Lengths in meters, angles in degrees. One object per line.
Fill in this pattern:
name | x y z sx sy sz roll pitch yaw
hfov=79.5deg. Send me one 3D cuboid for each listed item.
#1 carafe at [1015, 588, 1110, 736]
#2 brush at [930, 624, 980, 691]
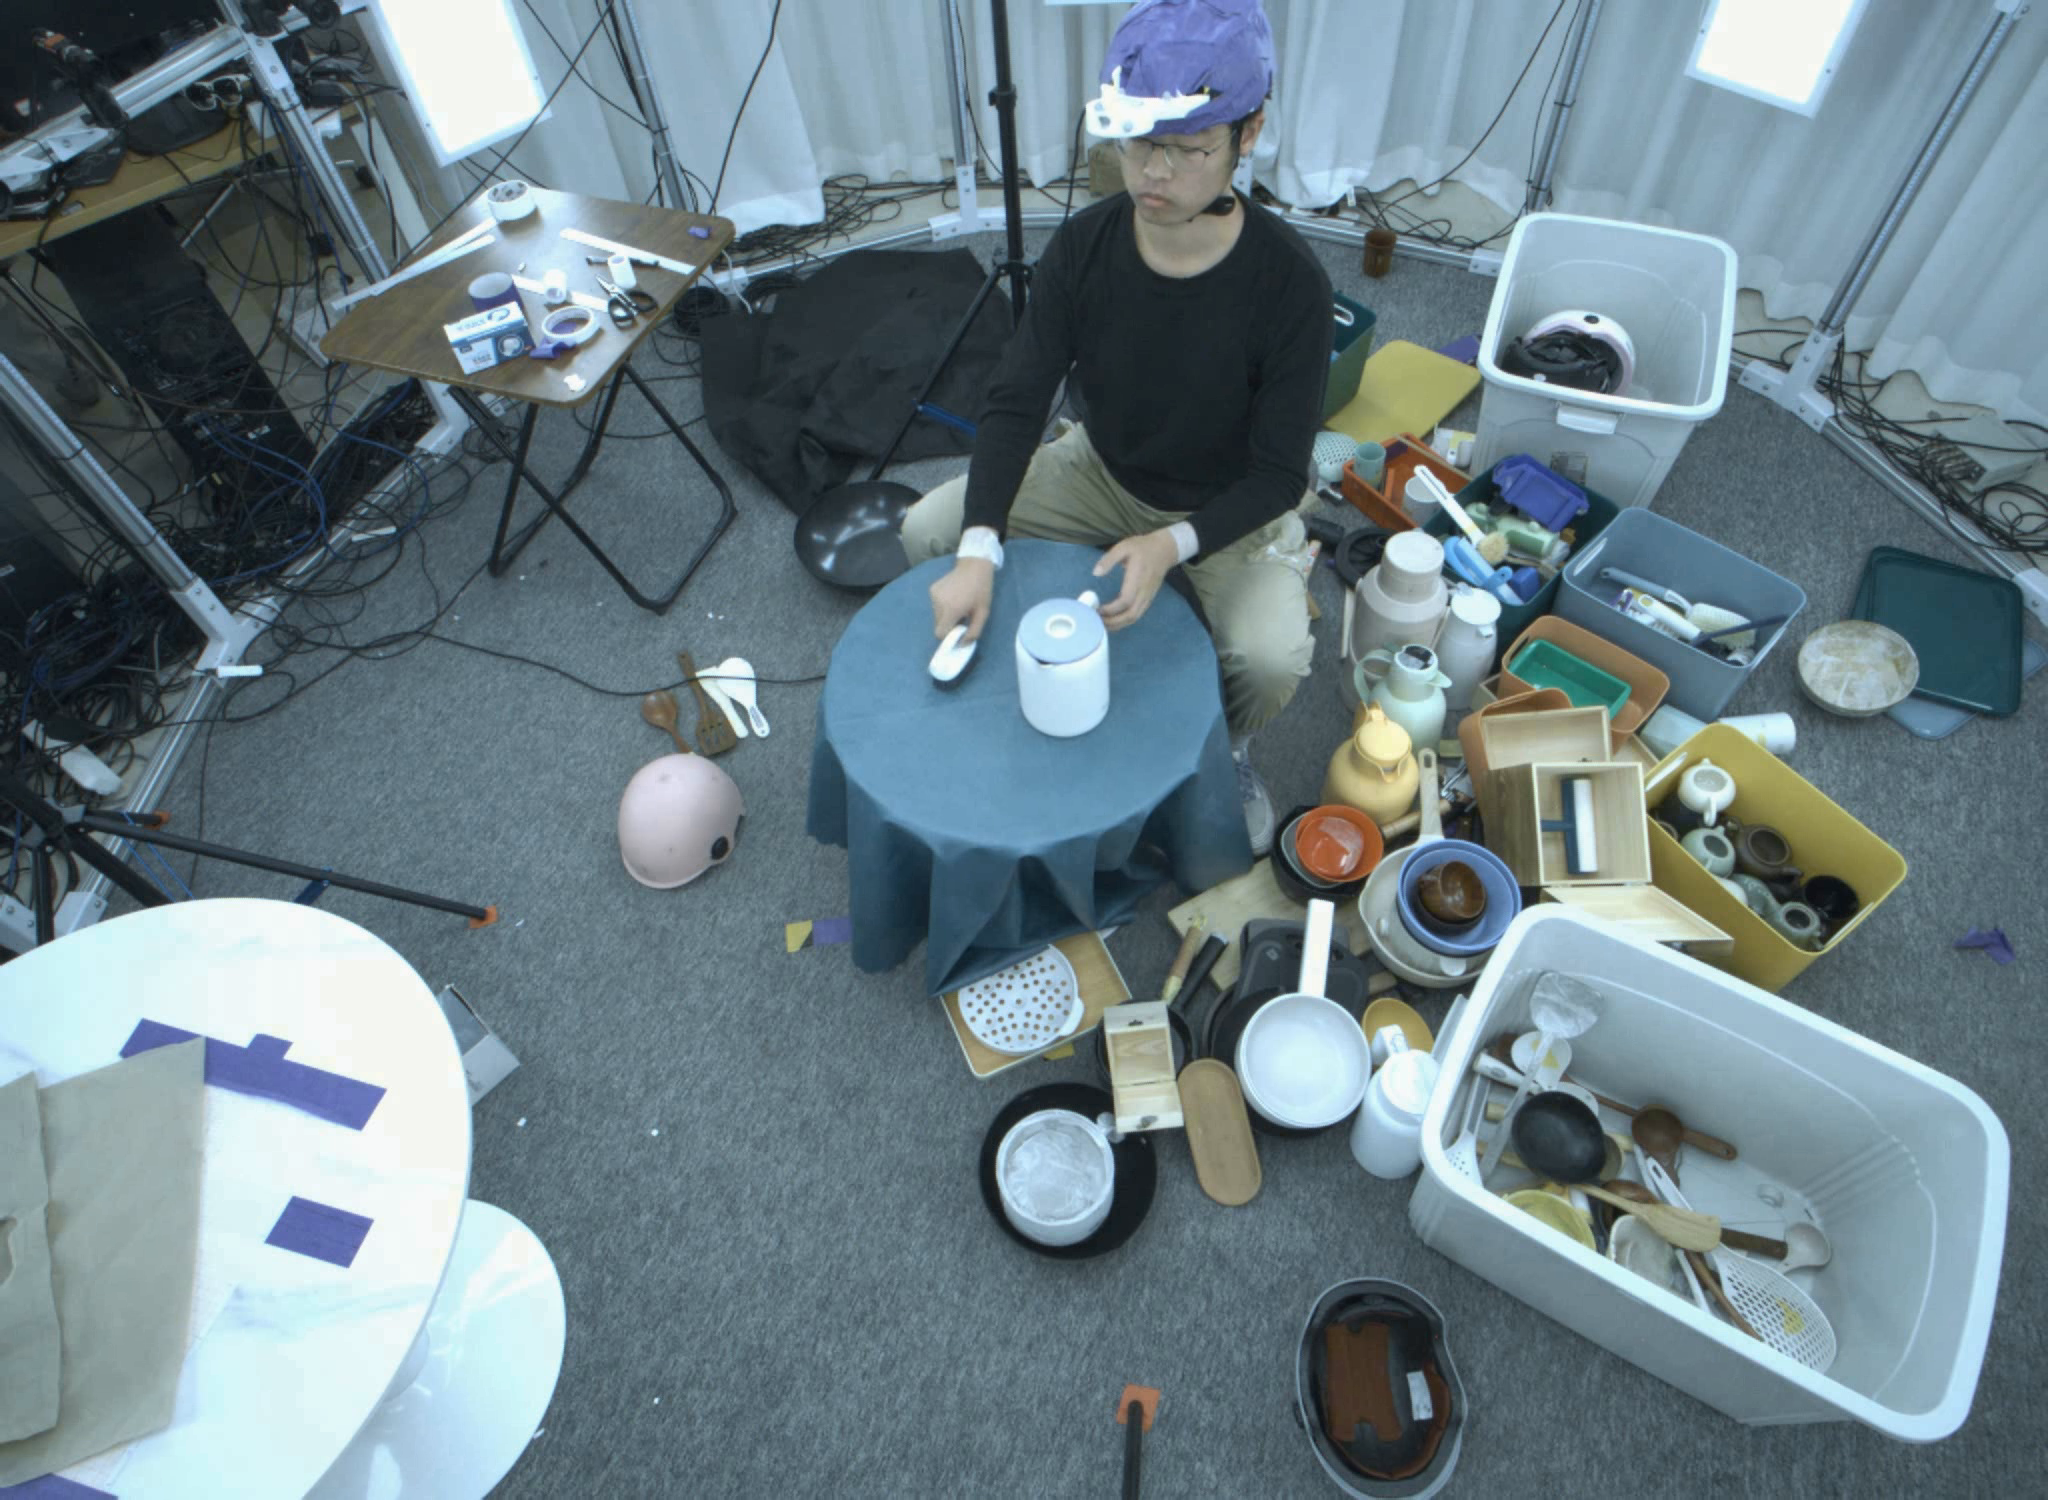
carafe | 0.066 -0.137 1.777 0.131 0.184 0.191 18 56 15
brush | -0.107 -0.147 1.850 0.049 0.073 0.099 23 59 20
